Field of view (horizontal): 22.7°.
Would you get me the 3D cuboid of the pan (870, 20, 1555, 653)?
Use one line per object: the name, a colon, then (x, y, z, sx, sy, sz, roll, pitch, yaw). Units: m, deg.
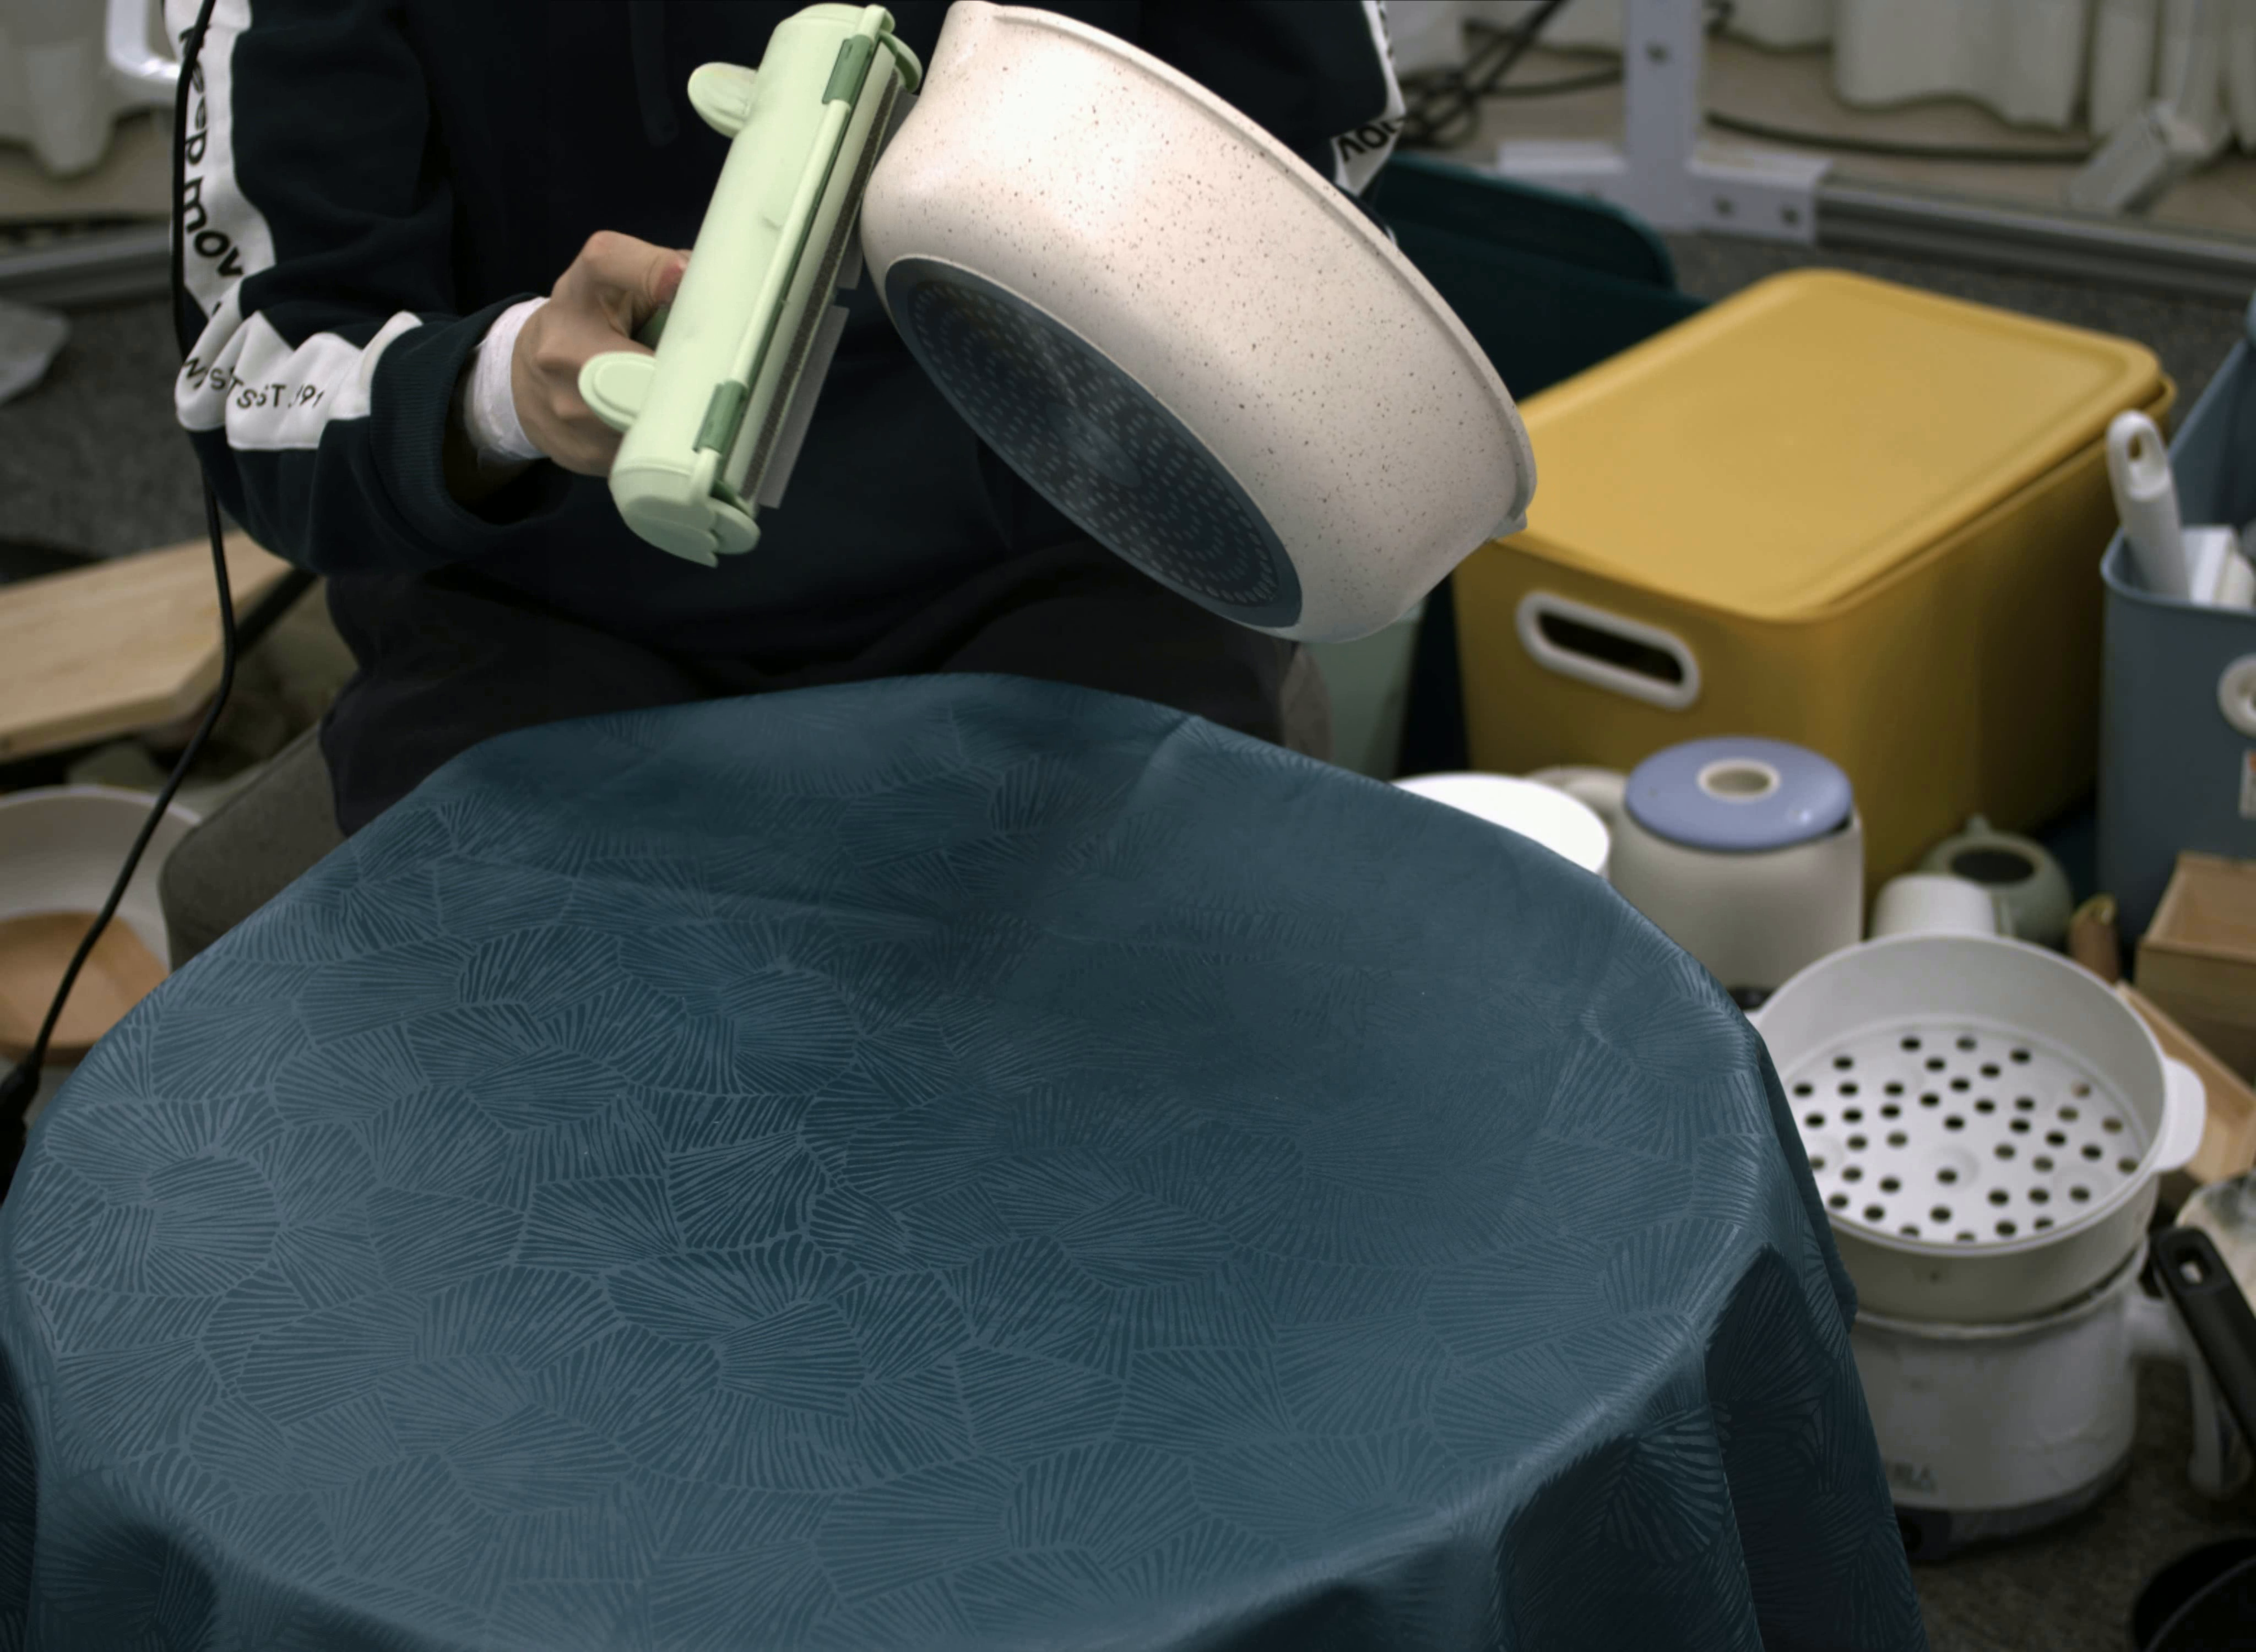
pan: (-0.001, -0.152, 1.986, 0.103, 0.262, 0.432, -52, 9, -13)

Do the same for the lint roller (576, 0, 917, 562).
lint roller: (-0.157, -0.181, 1.951, 0.082, 0.202, 0.181, 29, -24, -25)
